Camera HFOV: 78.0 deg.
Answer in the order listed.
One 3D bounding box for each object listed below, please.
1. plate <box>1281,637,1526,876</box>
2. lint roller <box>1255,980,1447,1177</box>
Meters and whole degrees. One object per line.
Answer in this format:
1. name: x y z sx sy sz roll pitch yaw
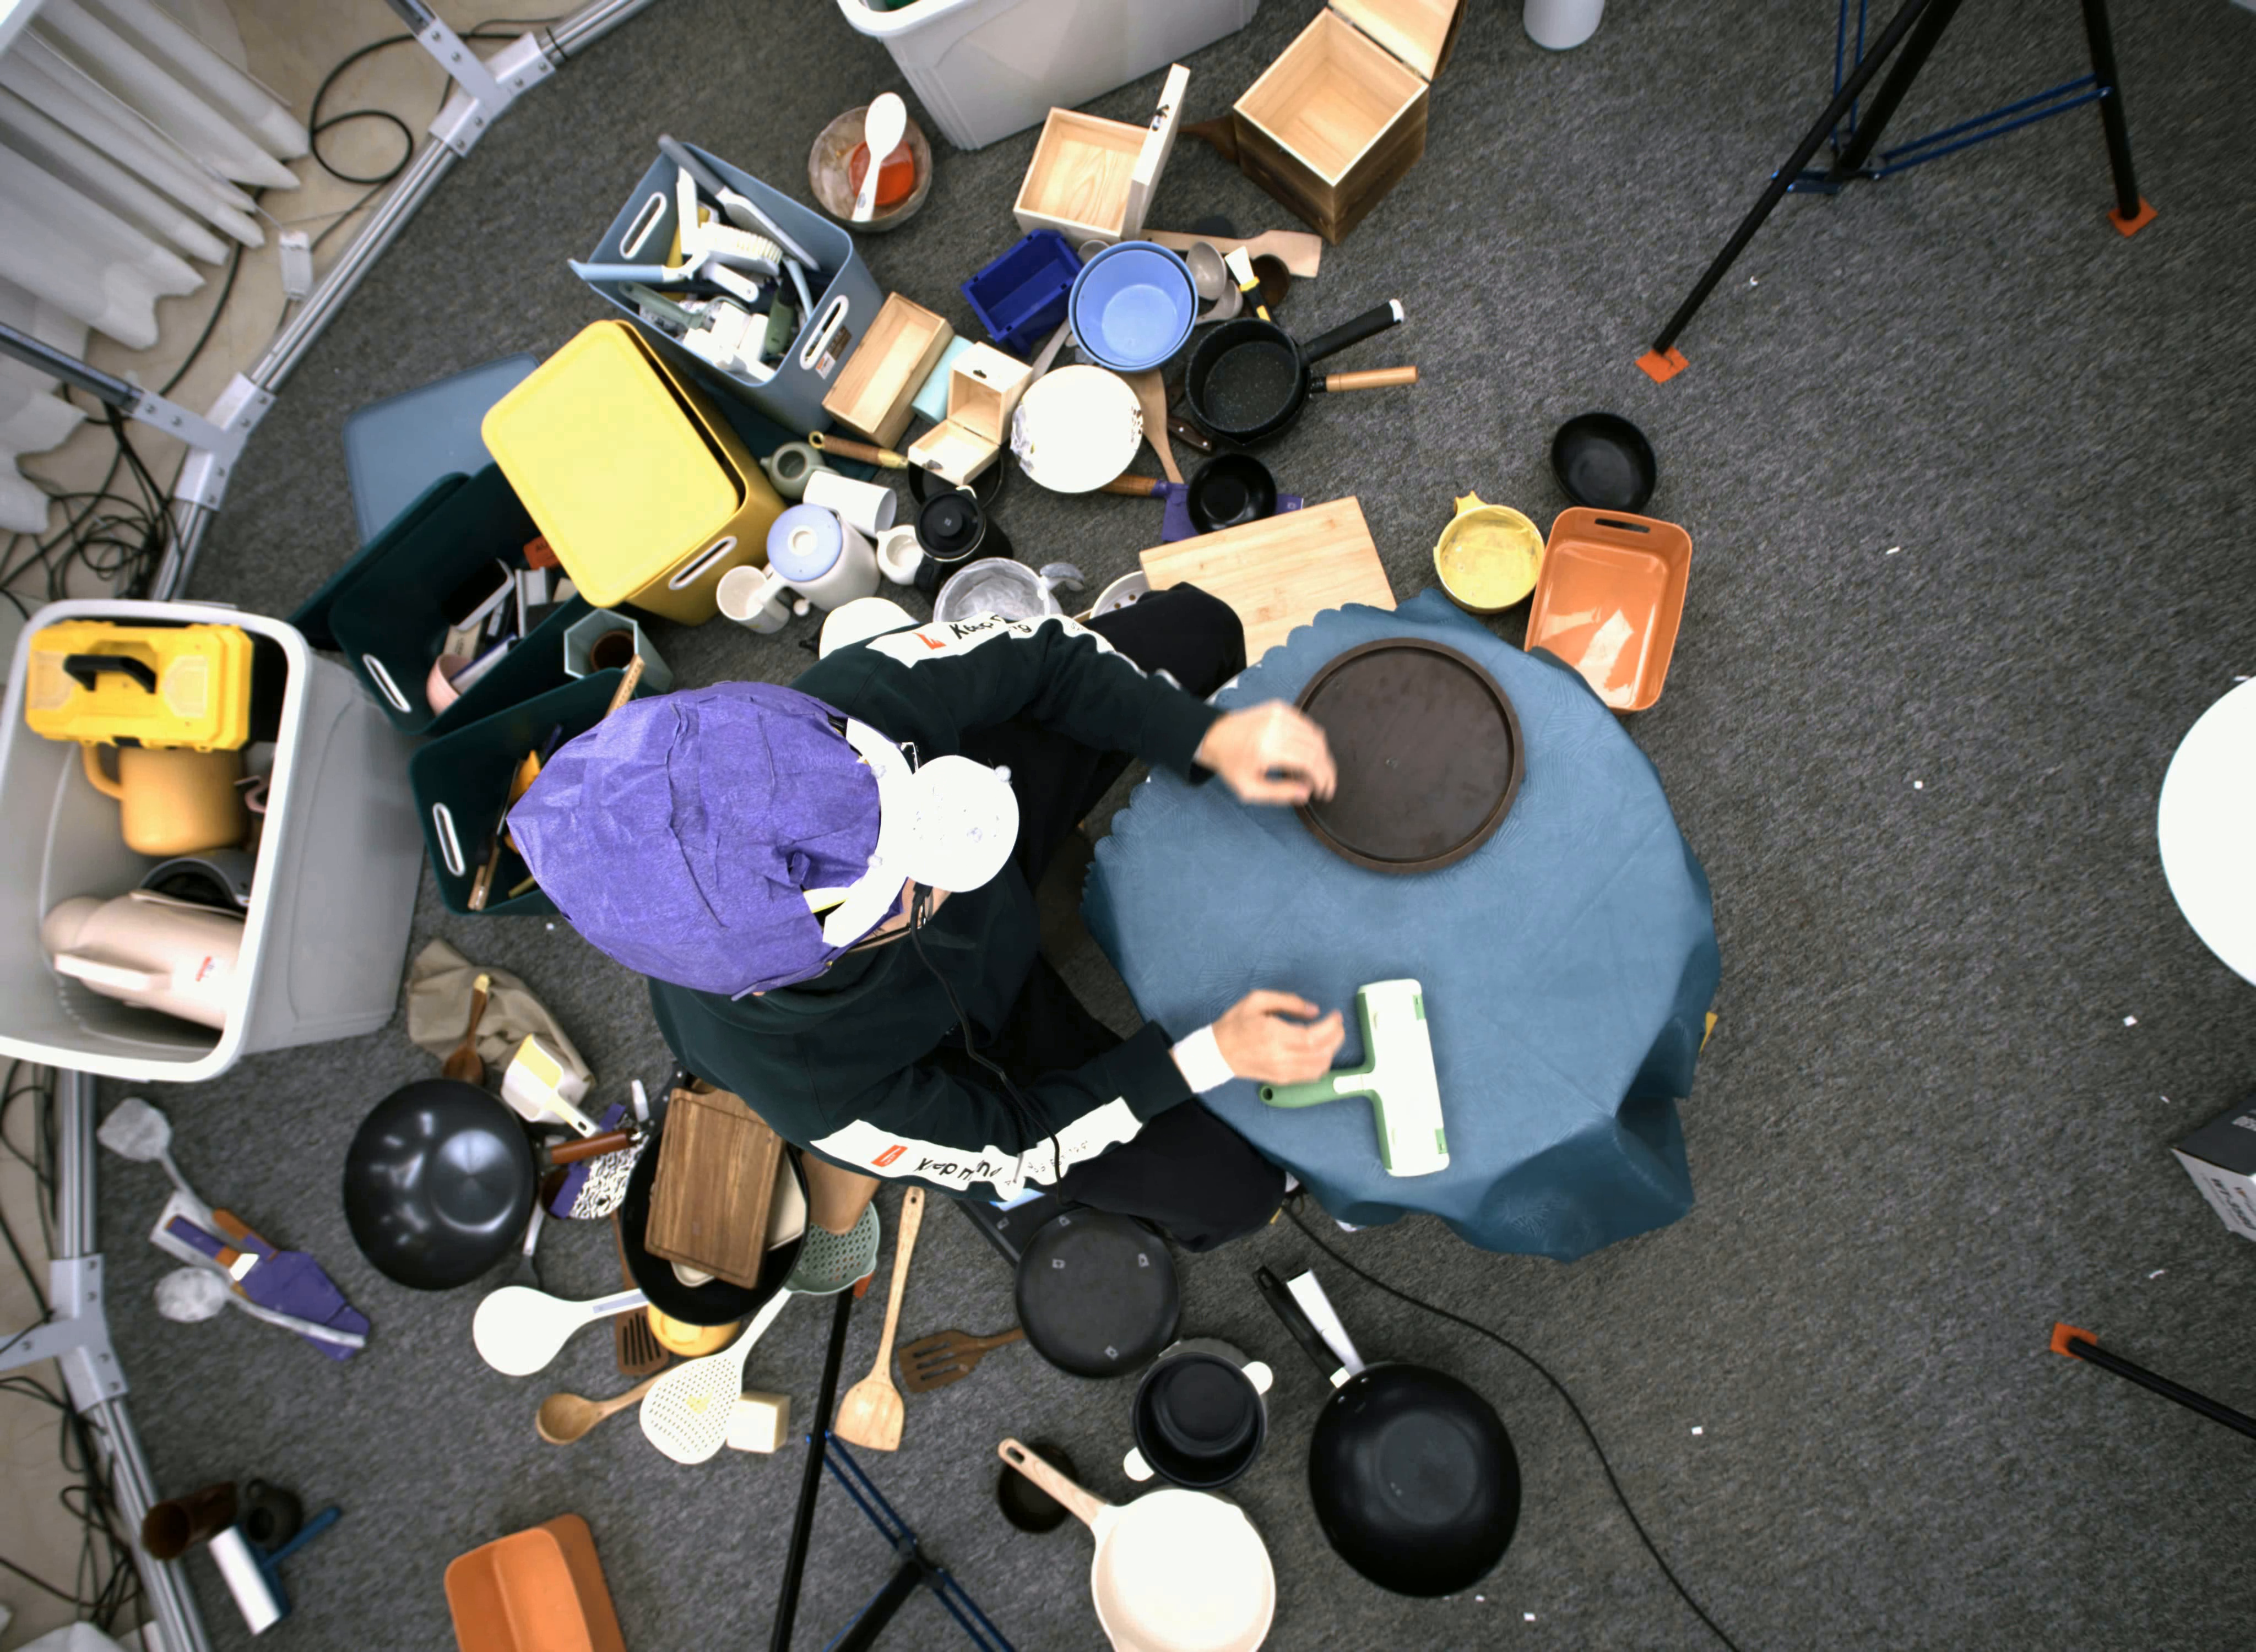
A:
1. plate: 0.288 -0.076 1.447 0.256 0.029 0.254 -1 88 11
2. lint roller: 0.221 0.263 1.414 0.184 0.082 0.197 -9 85 6
